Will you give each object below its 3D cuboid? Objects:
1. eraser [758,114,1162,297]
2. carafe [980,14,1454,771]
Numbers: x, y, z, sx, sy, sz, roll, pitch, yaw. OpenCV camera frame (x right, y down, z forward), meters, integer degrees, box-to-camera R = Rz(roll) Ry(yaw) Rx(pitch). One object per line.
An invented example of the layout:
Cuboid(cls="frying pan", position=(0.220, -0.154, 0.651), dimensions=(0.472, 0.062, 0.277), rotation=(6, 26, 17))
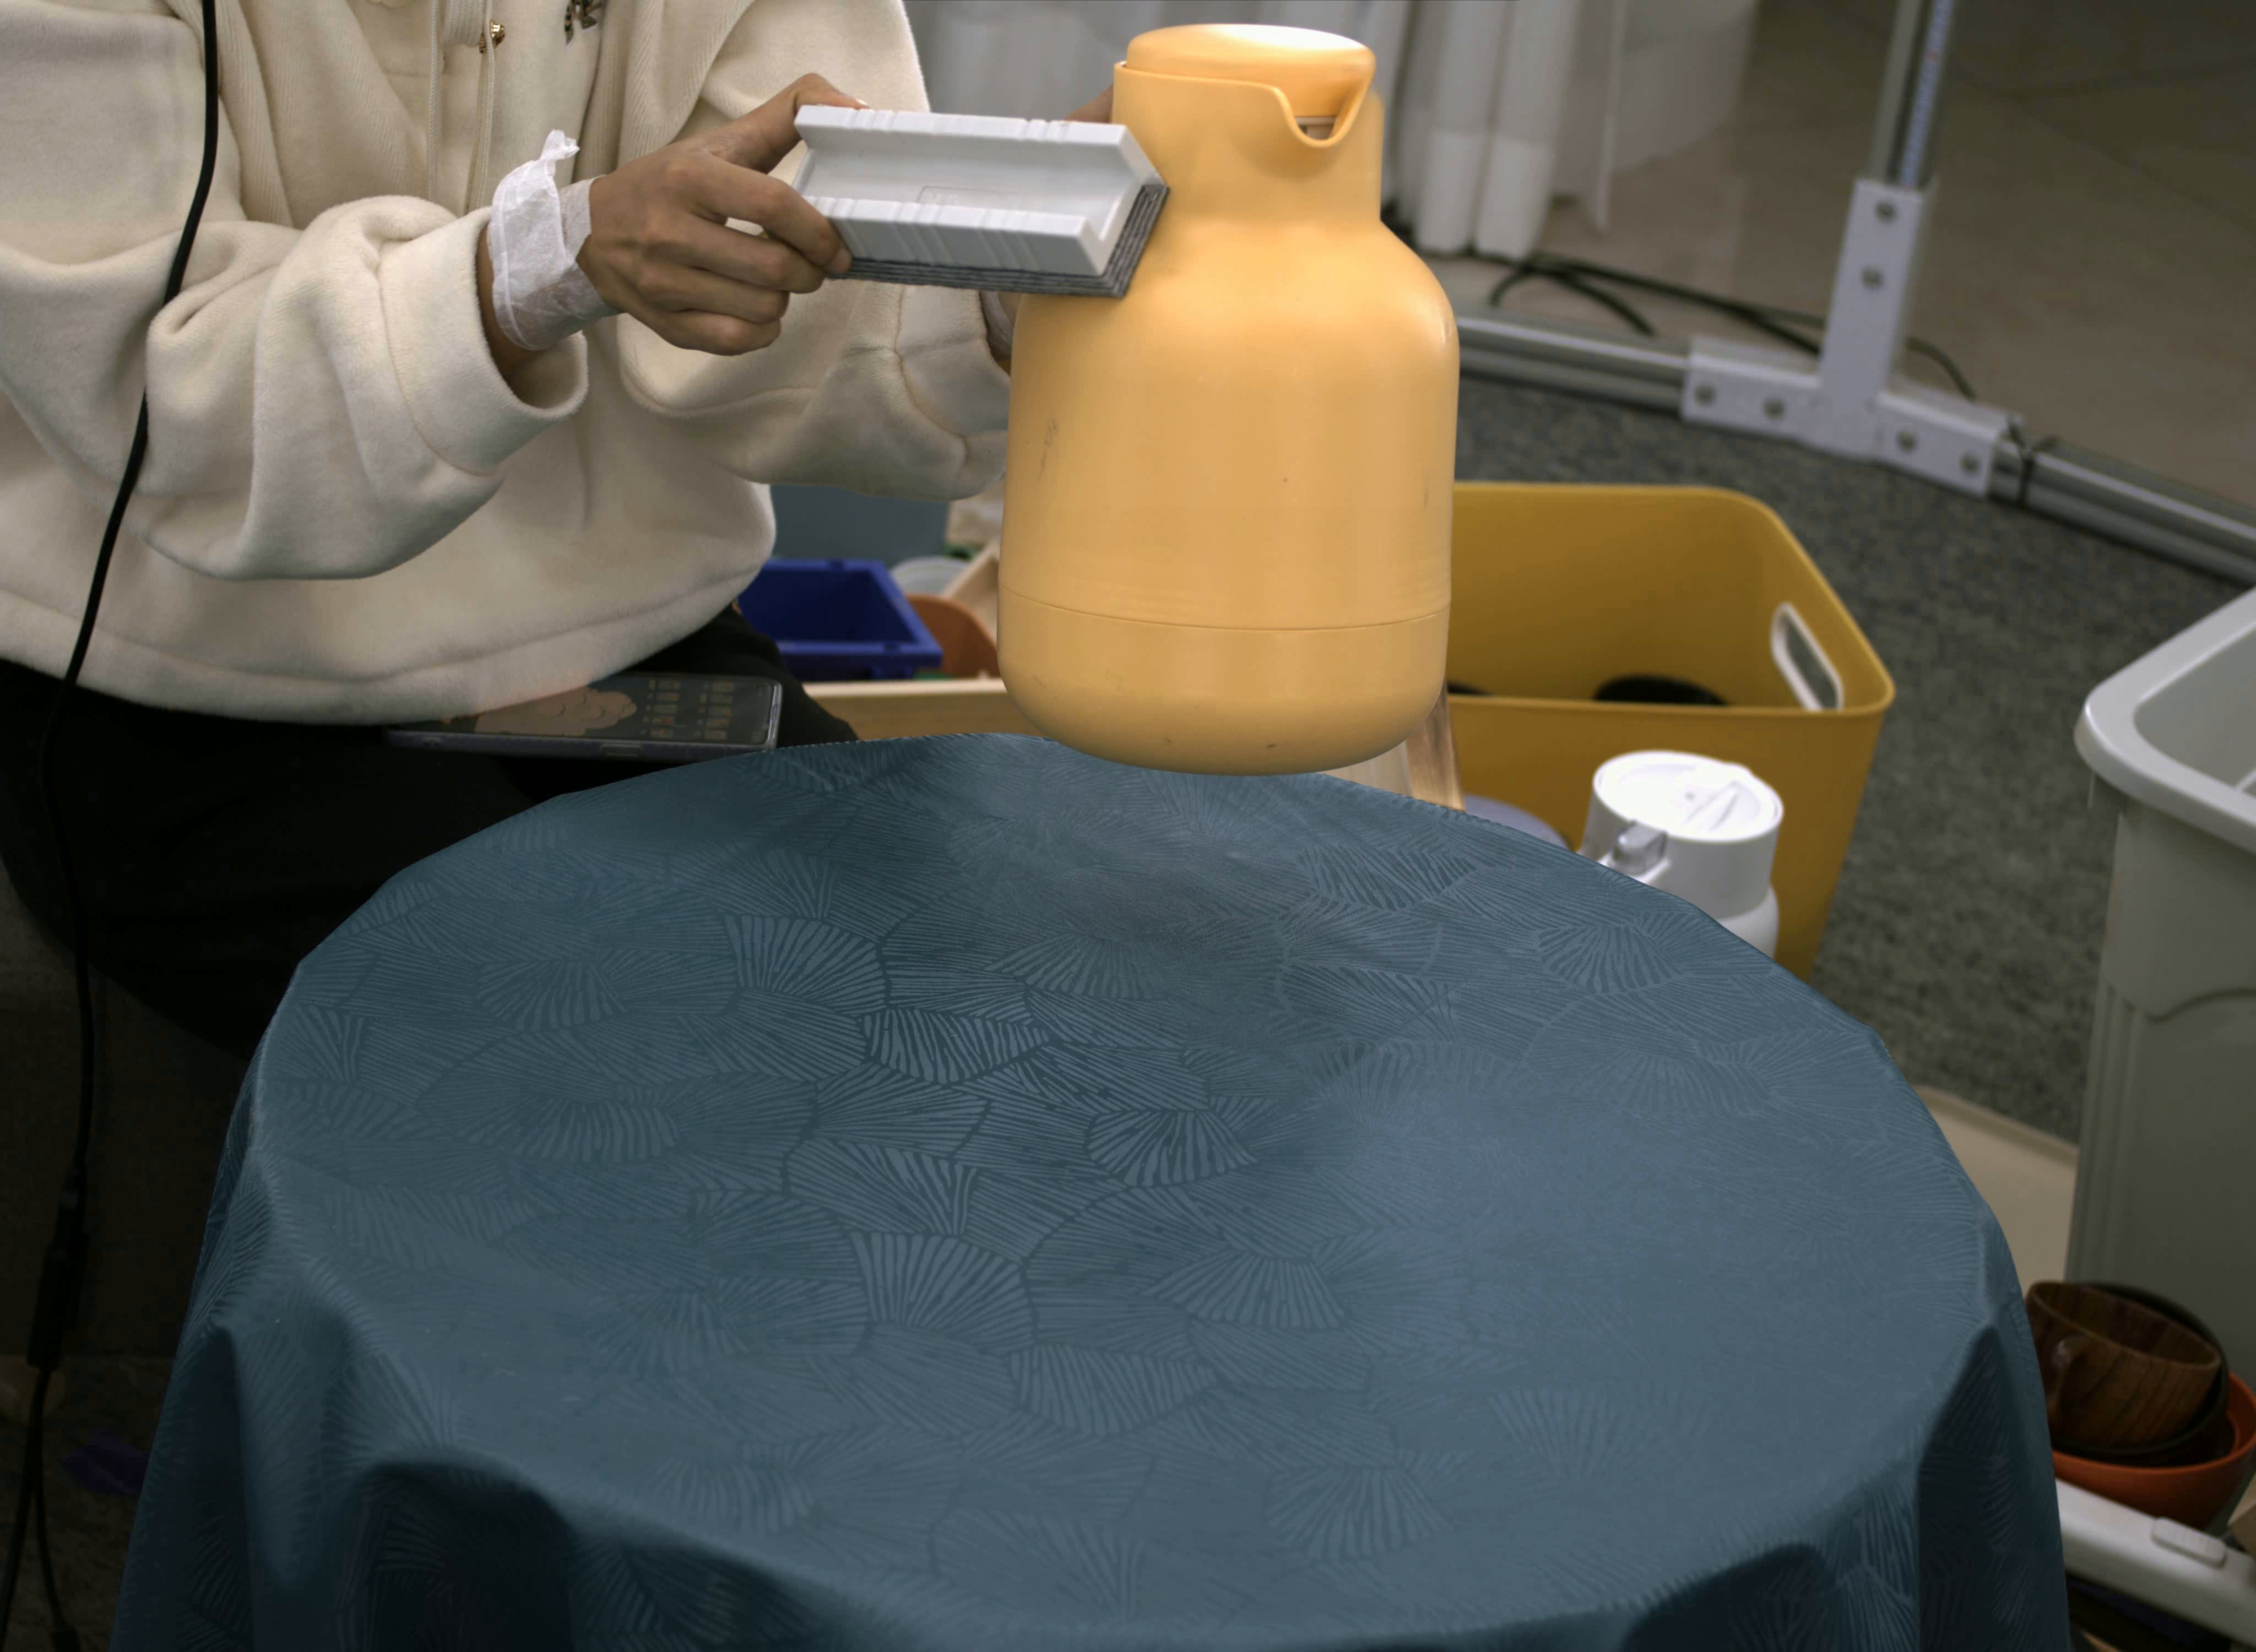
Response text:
Cuboid(cls="eraser", position=(-0.058, -0.217, 1.863), dimensions=(0.135, 0.046, 0.050), rotation=(5, 64, 29))
Cuboid(cls="carafe", position=(0.031, -0.162, 1.922), dimensions=(0.162, 0.260, 0.203), rotation=(2, 13, -18))
